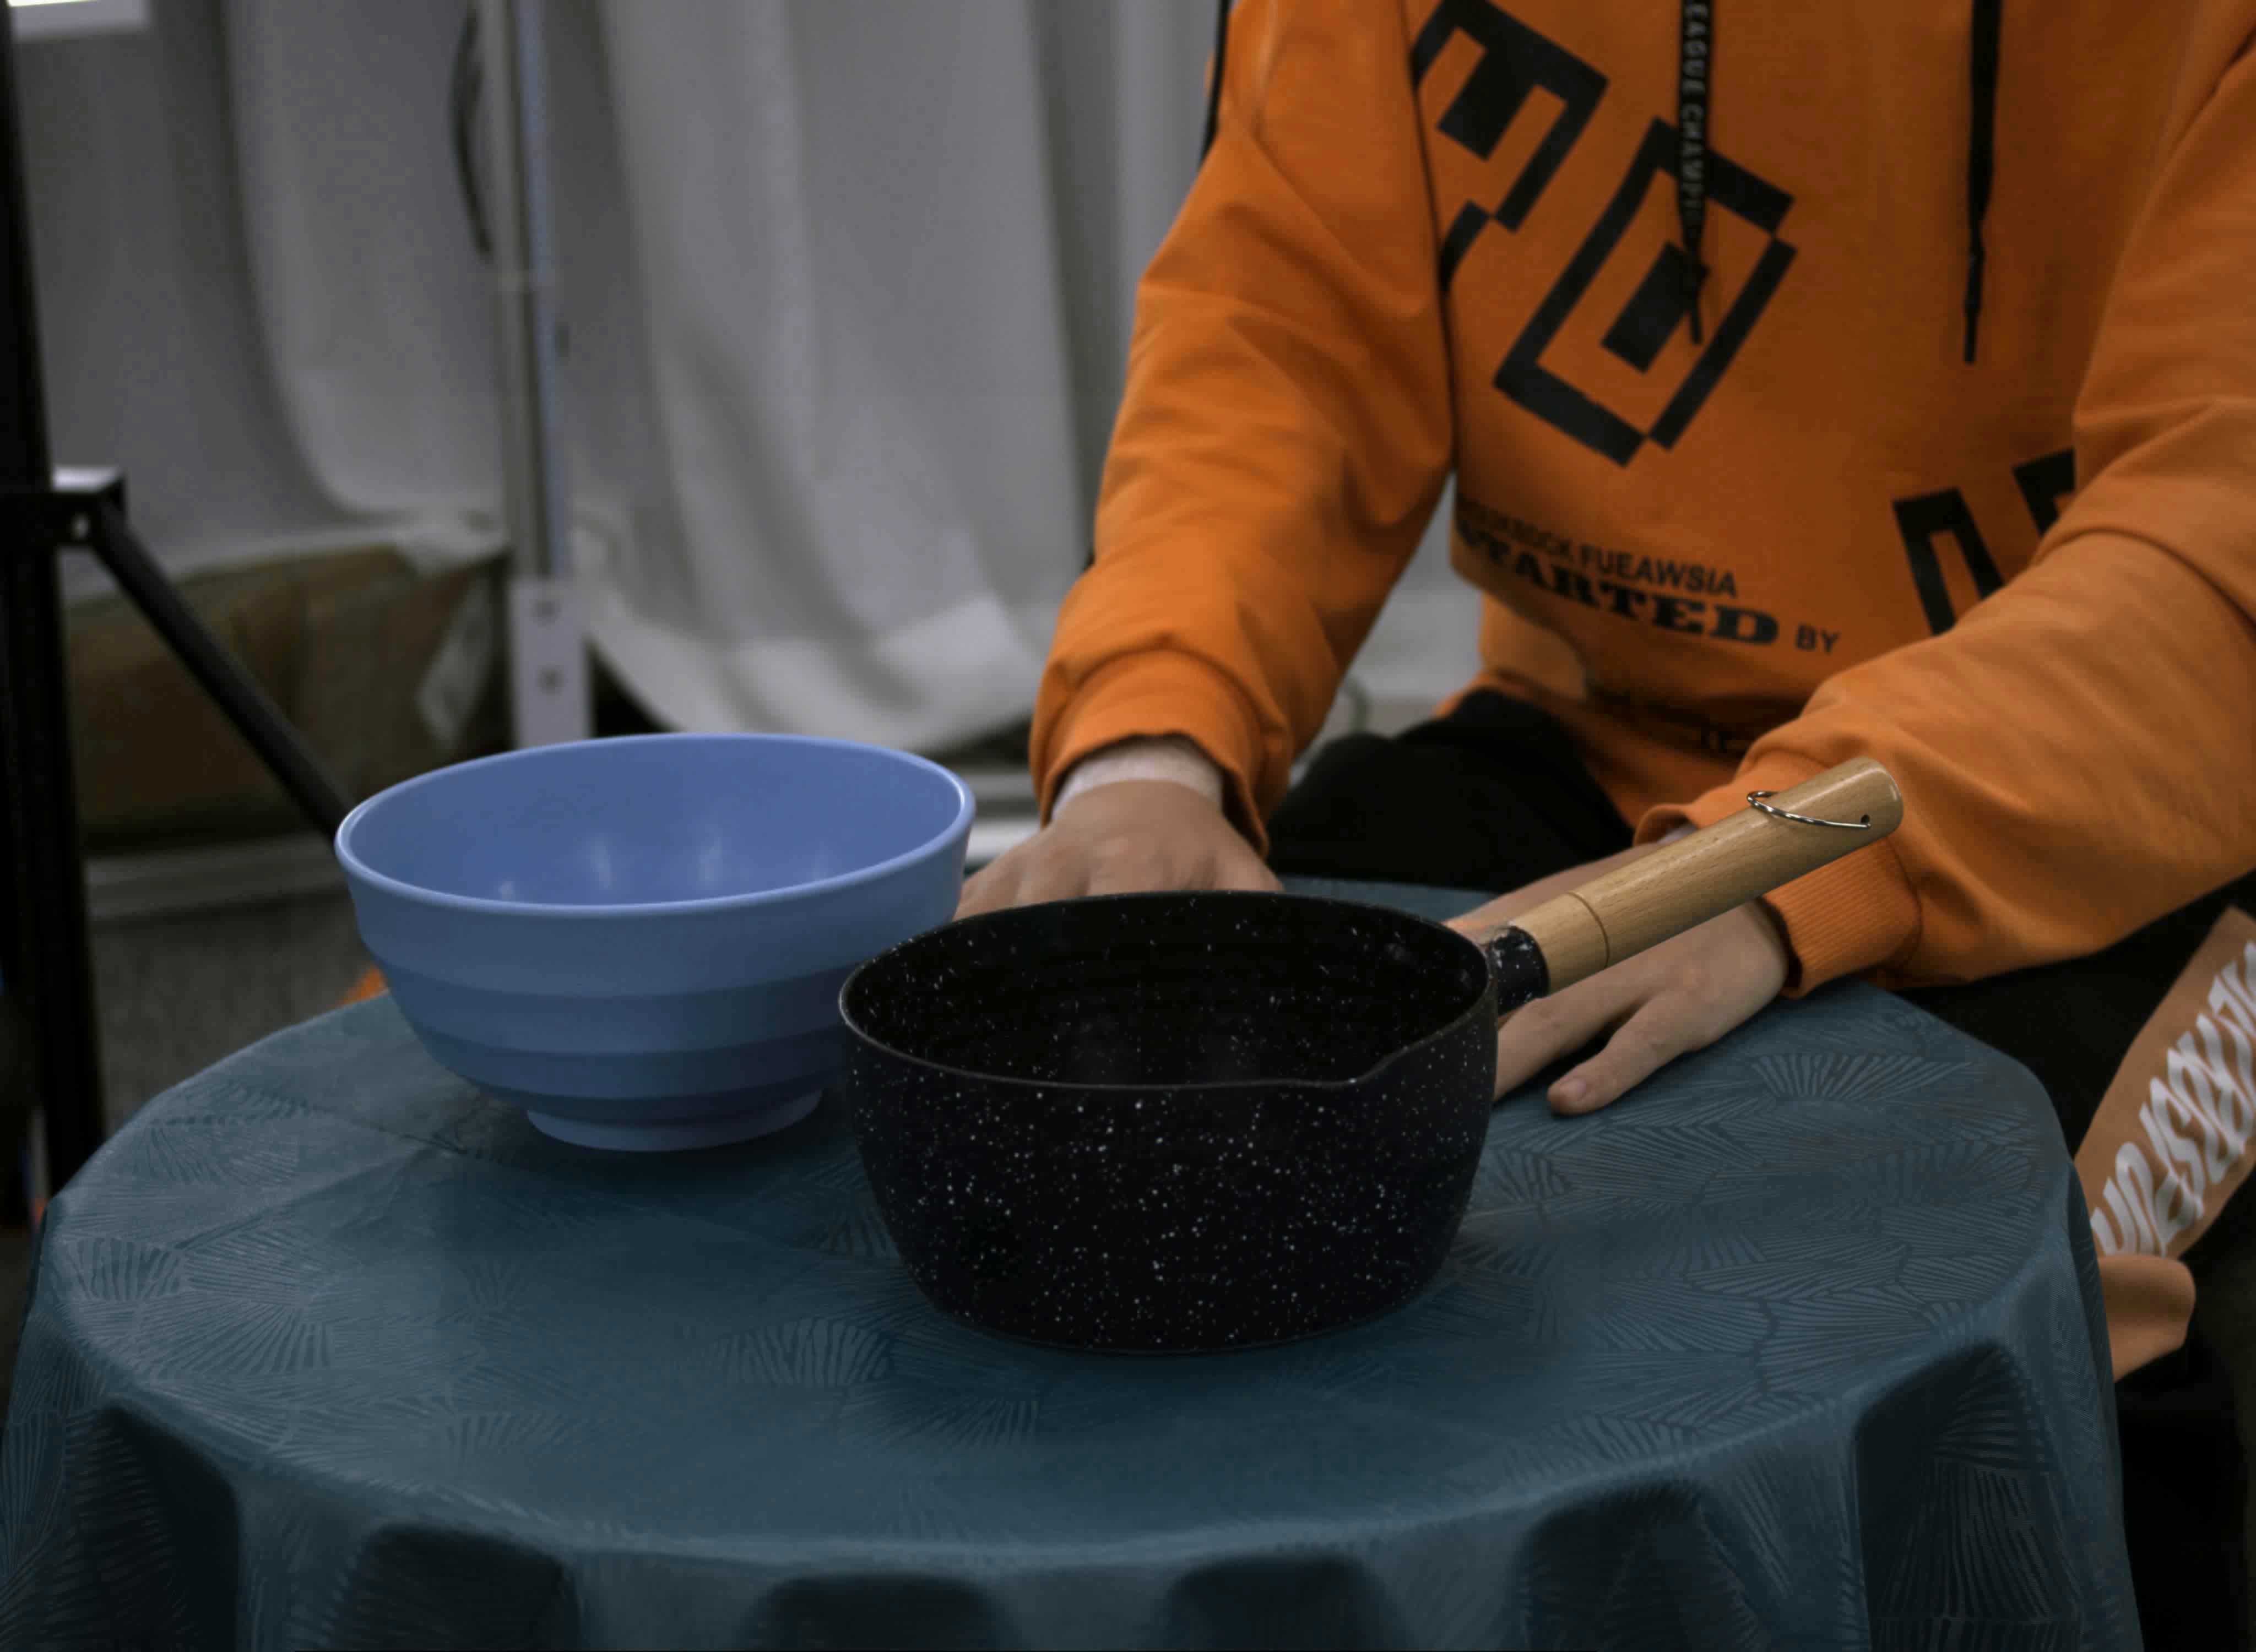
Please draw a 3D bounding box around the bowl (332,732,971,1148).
[{"bbox_3d":[-0.143,0.040,1.645,0.195,0.095,0.197,-4,16,0],"label":"bowl"}]

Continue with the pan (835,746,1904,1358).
[{"bbox_3d":[0.080,0.059,1.519,0.335,0.108,0.212,-12,17,-27],"label":"pan"}]
